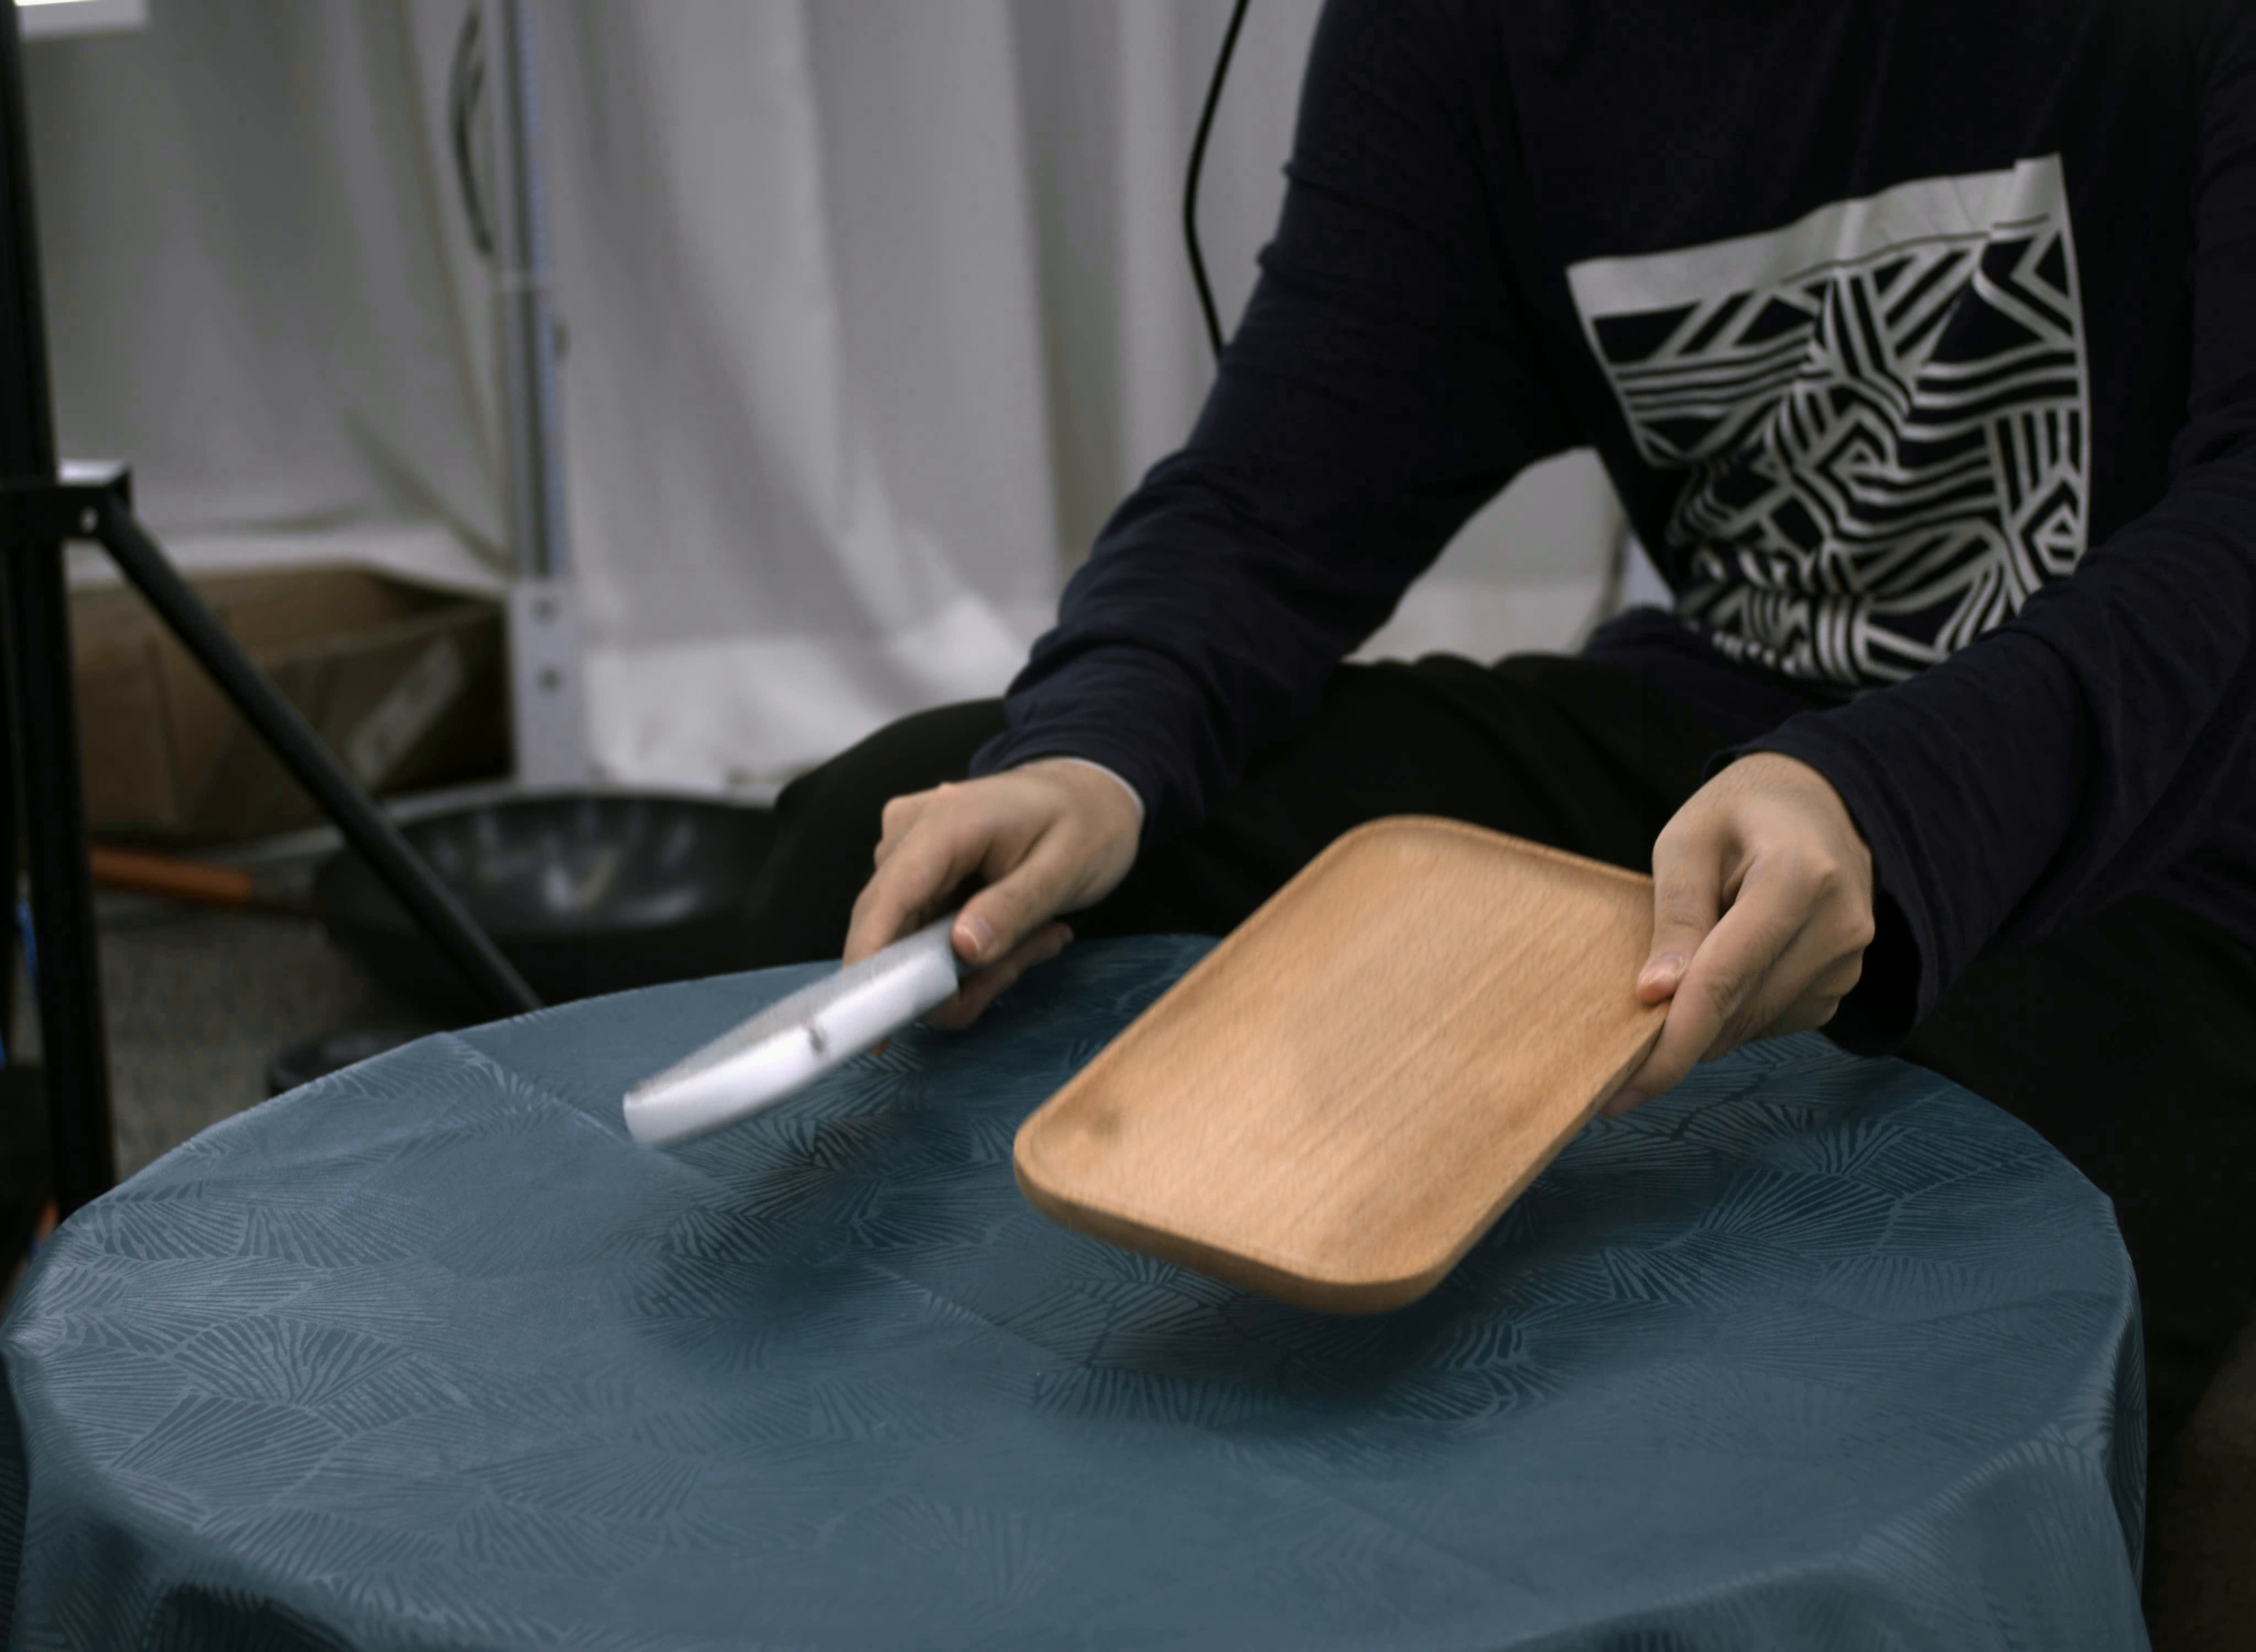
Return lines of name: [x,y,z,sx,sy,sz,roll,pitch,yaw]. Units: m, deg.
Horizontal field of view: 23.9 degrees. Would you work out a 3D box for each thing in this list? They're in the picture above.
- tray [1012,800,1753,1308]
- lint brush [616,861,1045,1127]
tray: [0.075,0.061,1.494,0.133,0.023,0.247,20,33,25]
lint brush: [-0.080,0.046,1.623,0.060,0.021,0.305,-27,1,20]
